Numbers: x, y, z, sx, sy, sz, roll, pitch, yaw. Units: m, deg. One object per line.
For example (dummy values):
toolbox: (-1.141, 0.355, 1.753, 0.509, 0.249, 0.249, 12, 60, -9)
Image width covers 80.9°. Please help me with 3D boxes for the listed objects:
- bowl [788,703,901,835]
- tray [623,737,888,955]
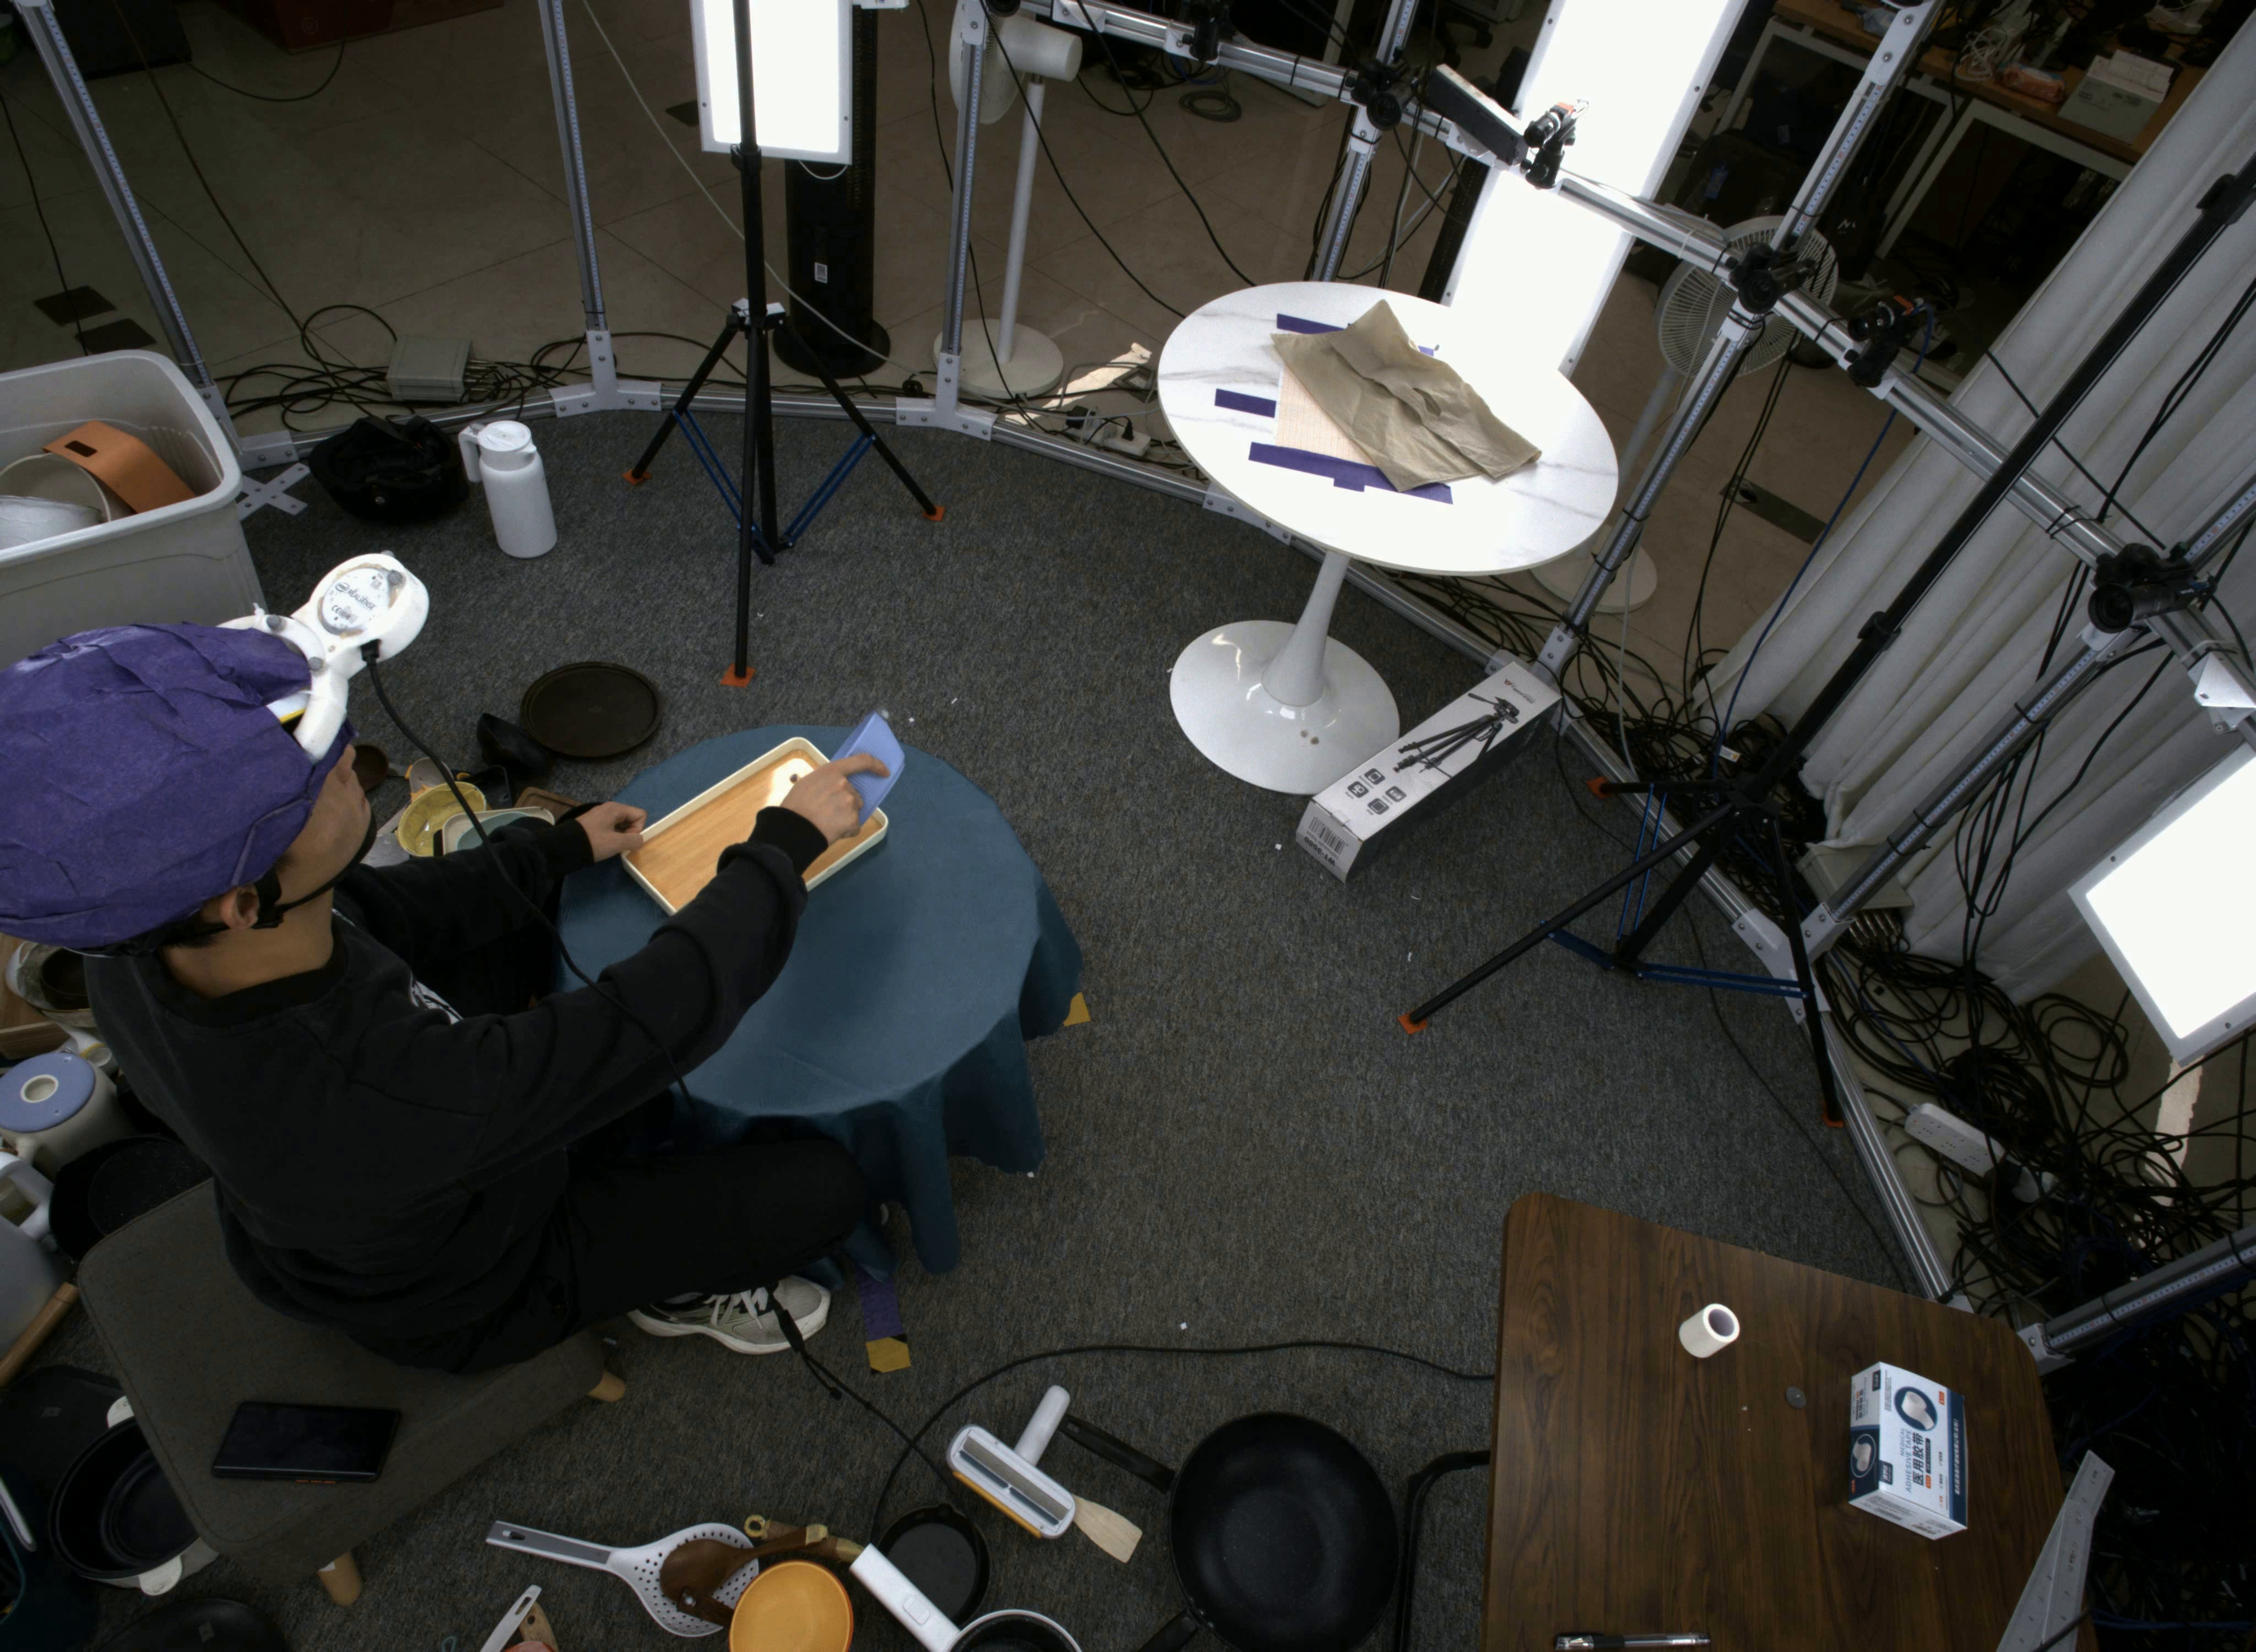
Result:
bowl: (-0.332, -0.057, 1.560, 0.071, 0.174, 0.174, 37, 49, -14)
tray: (-0.479, 0.018, 1.674, 0.189, 0.028, 0.300, 43, 55, 11)
